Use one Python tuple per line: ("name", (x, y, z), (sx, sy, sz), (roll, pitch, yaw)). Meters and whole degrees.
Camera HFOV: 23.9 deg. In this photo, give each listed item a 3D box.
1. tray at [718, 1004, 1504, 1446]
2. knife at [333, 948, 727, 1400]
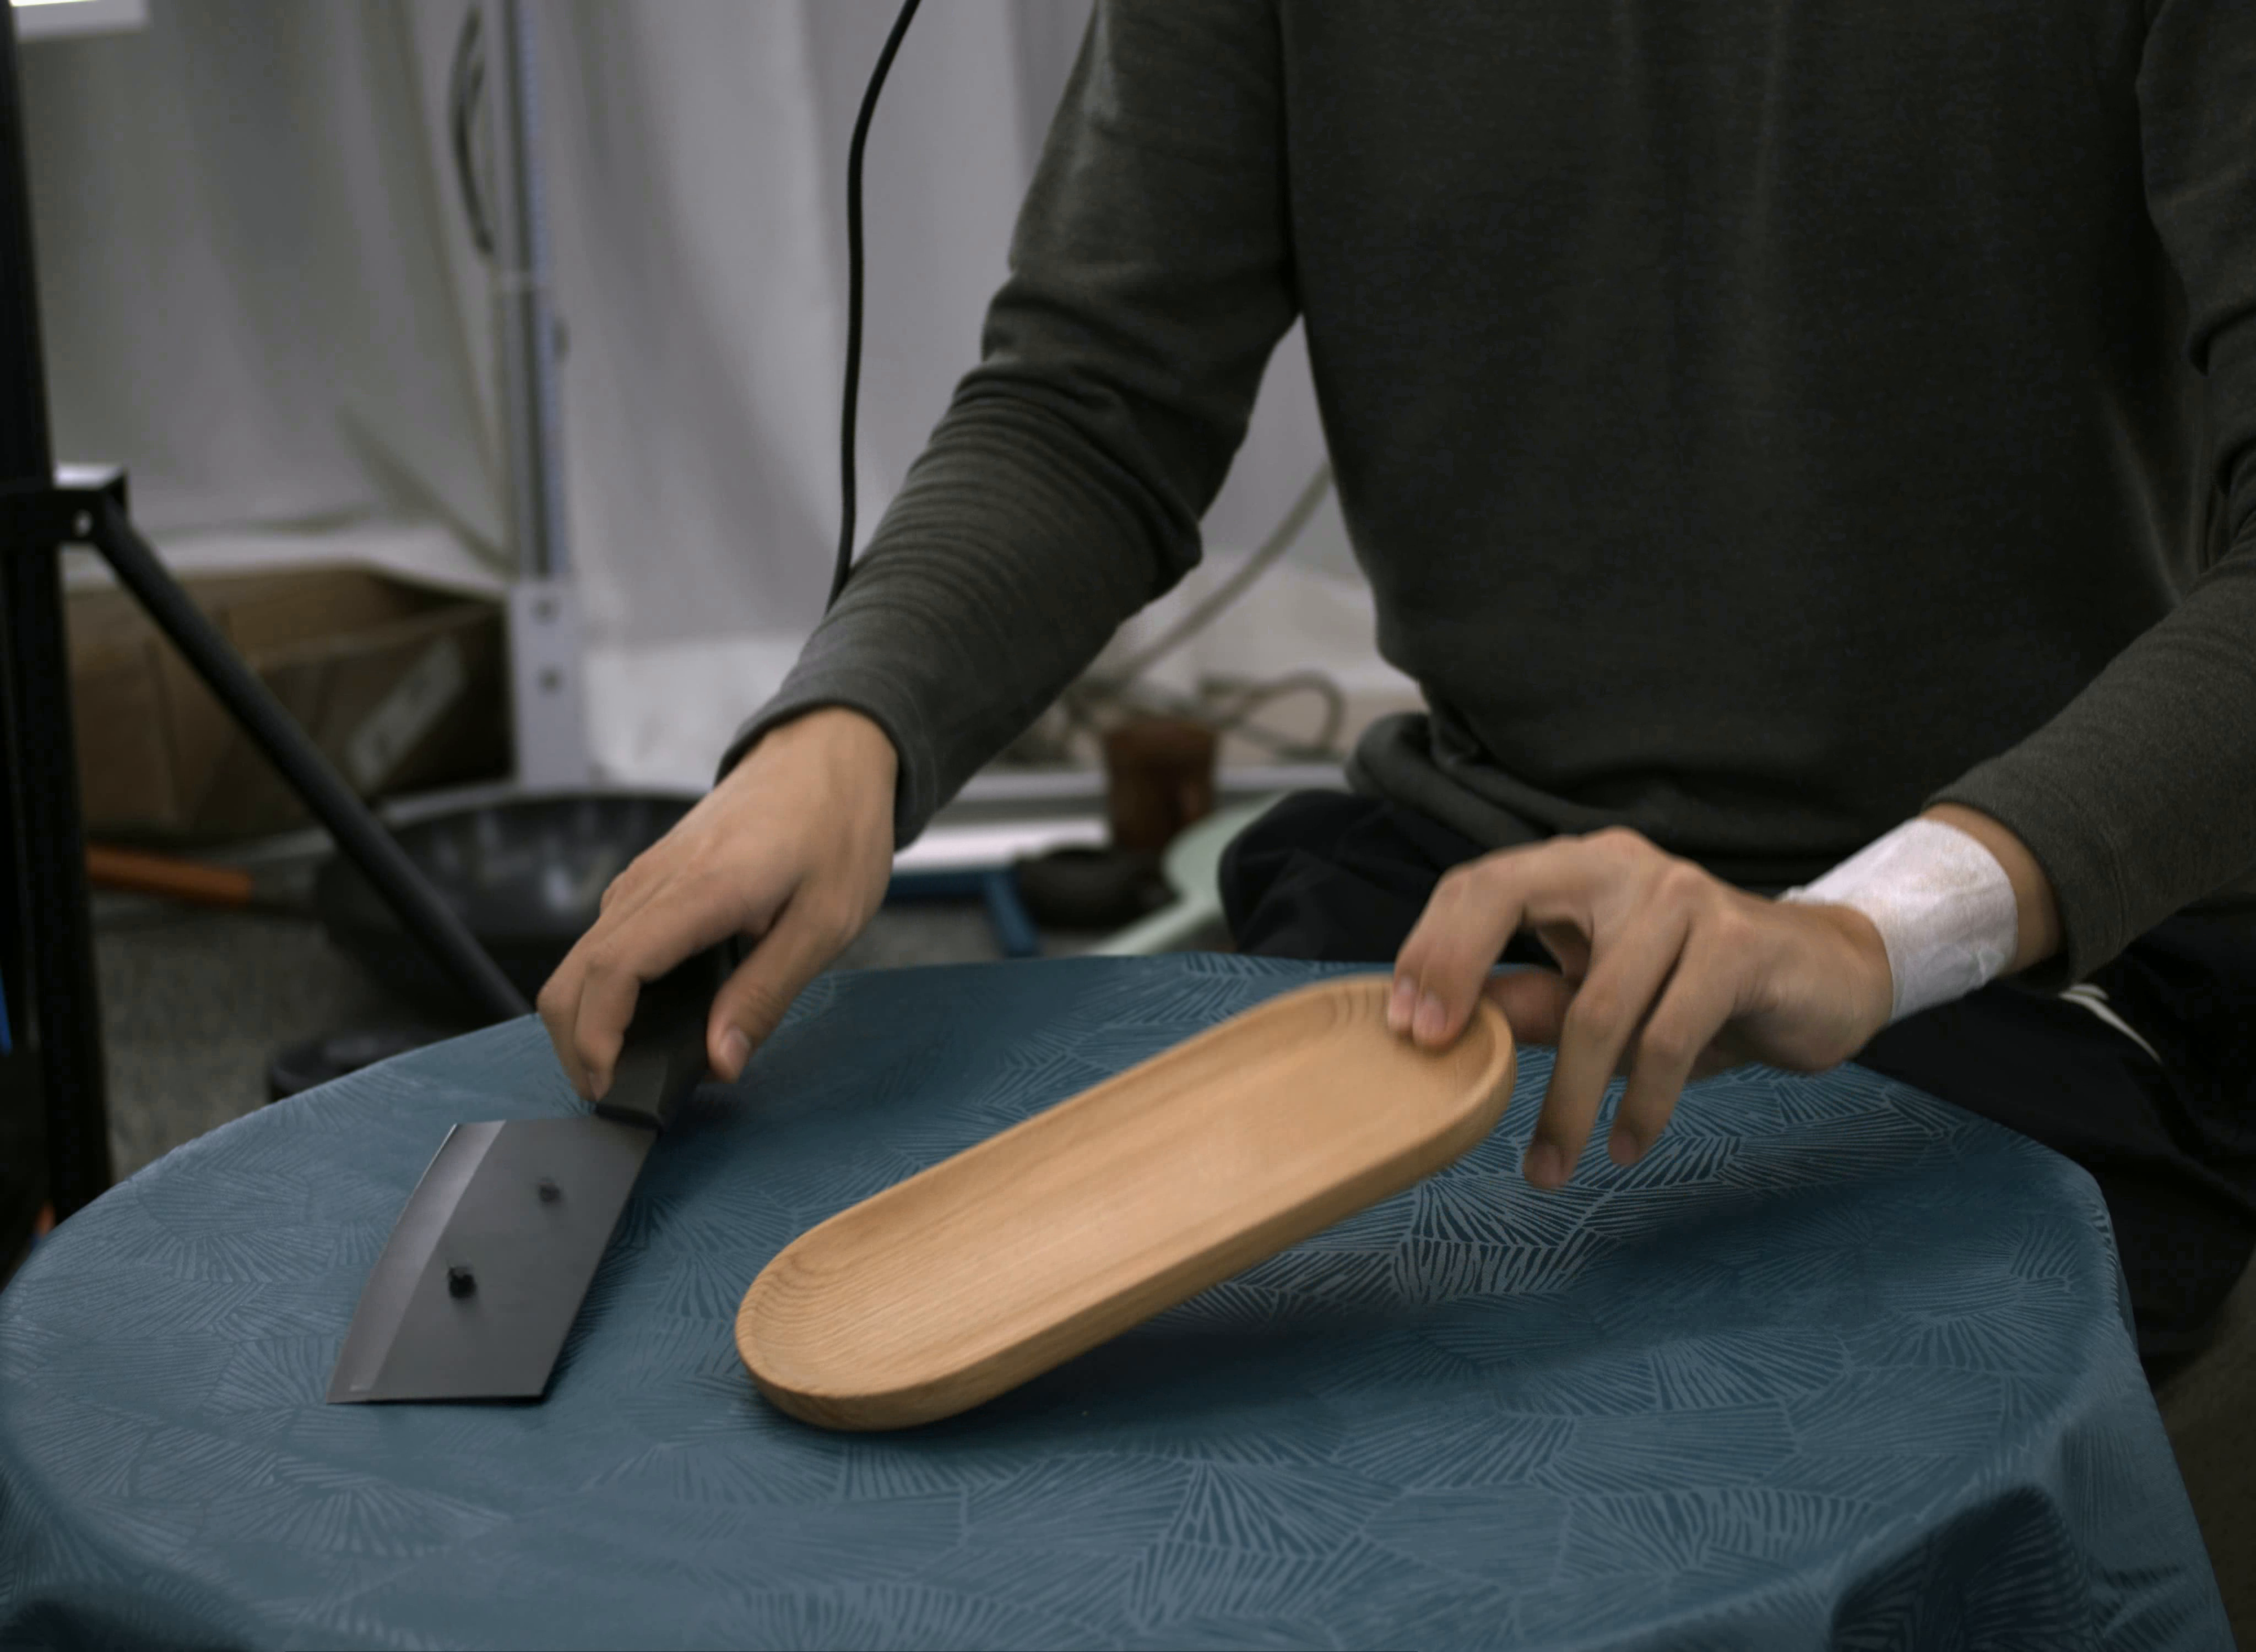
("tray", (-0.002, 0.107, 1.436), (0.228, 0.020, 0.104), (-26, 26, -16))
("knife", (-0.167, 0.100, 1.560), (0.081, 0.021, 0.301), (0, 21, 11))
